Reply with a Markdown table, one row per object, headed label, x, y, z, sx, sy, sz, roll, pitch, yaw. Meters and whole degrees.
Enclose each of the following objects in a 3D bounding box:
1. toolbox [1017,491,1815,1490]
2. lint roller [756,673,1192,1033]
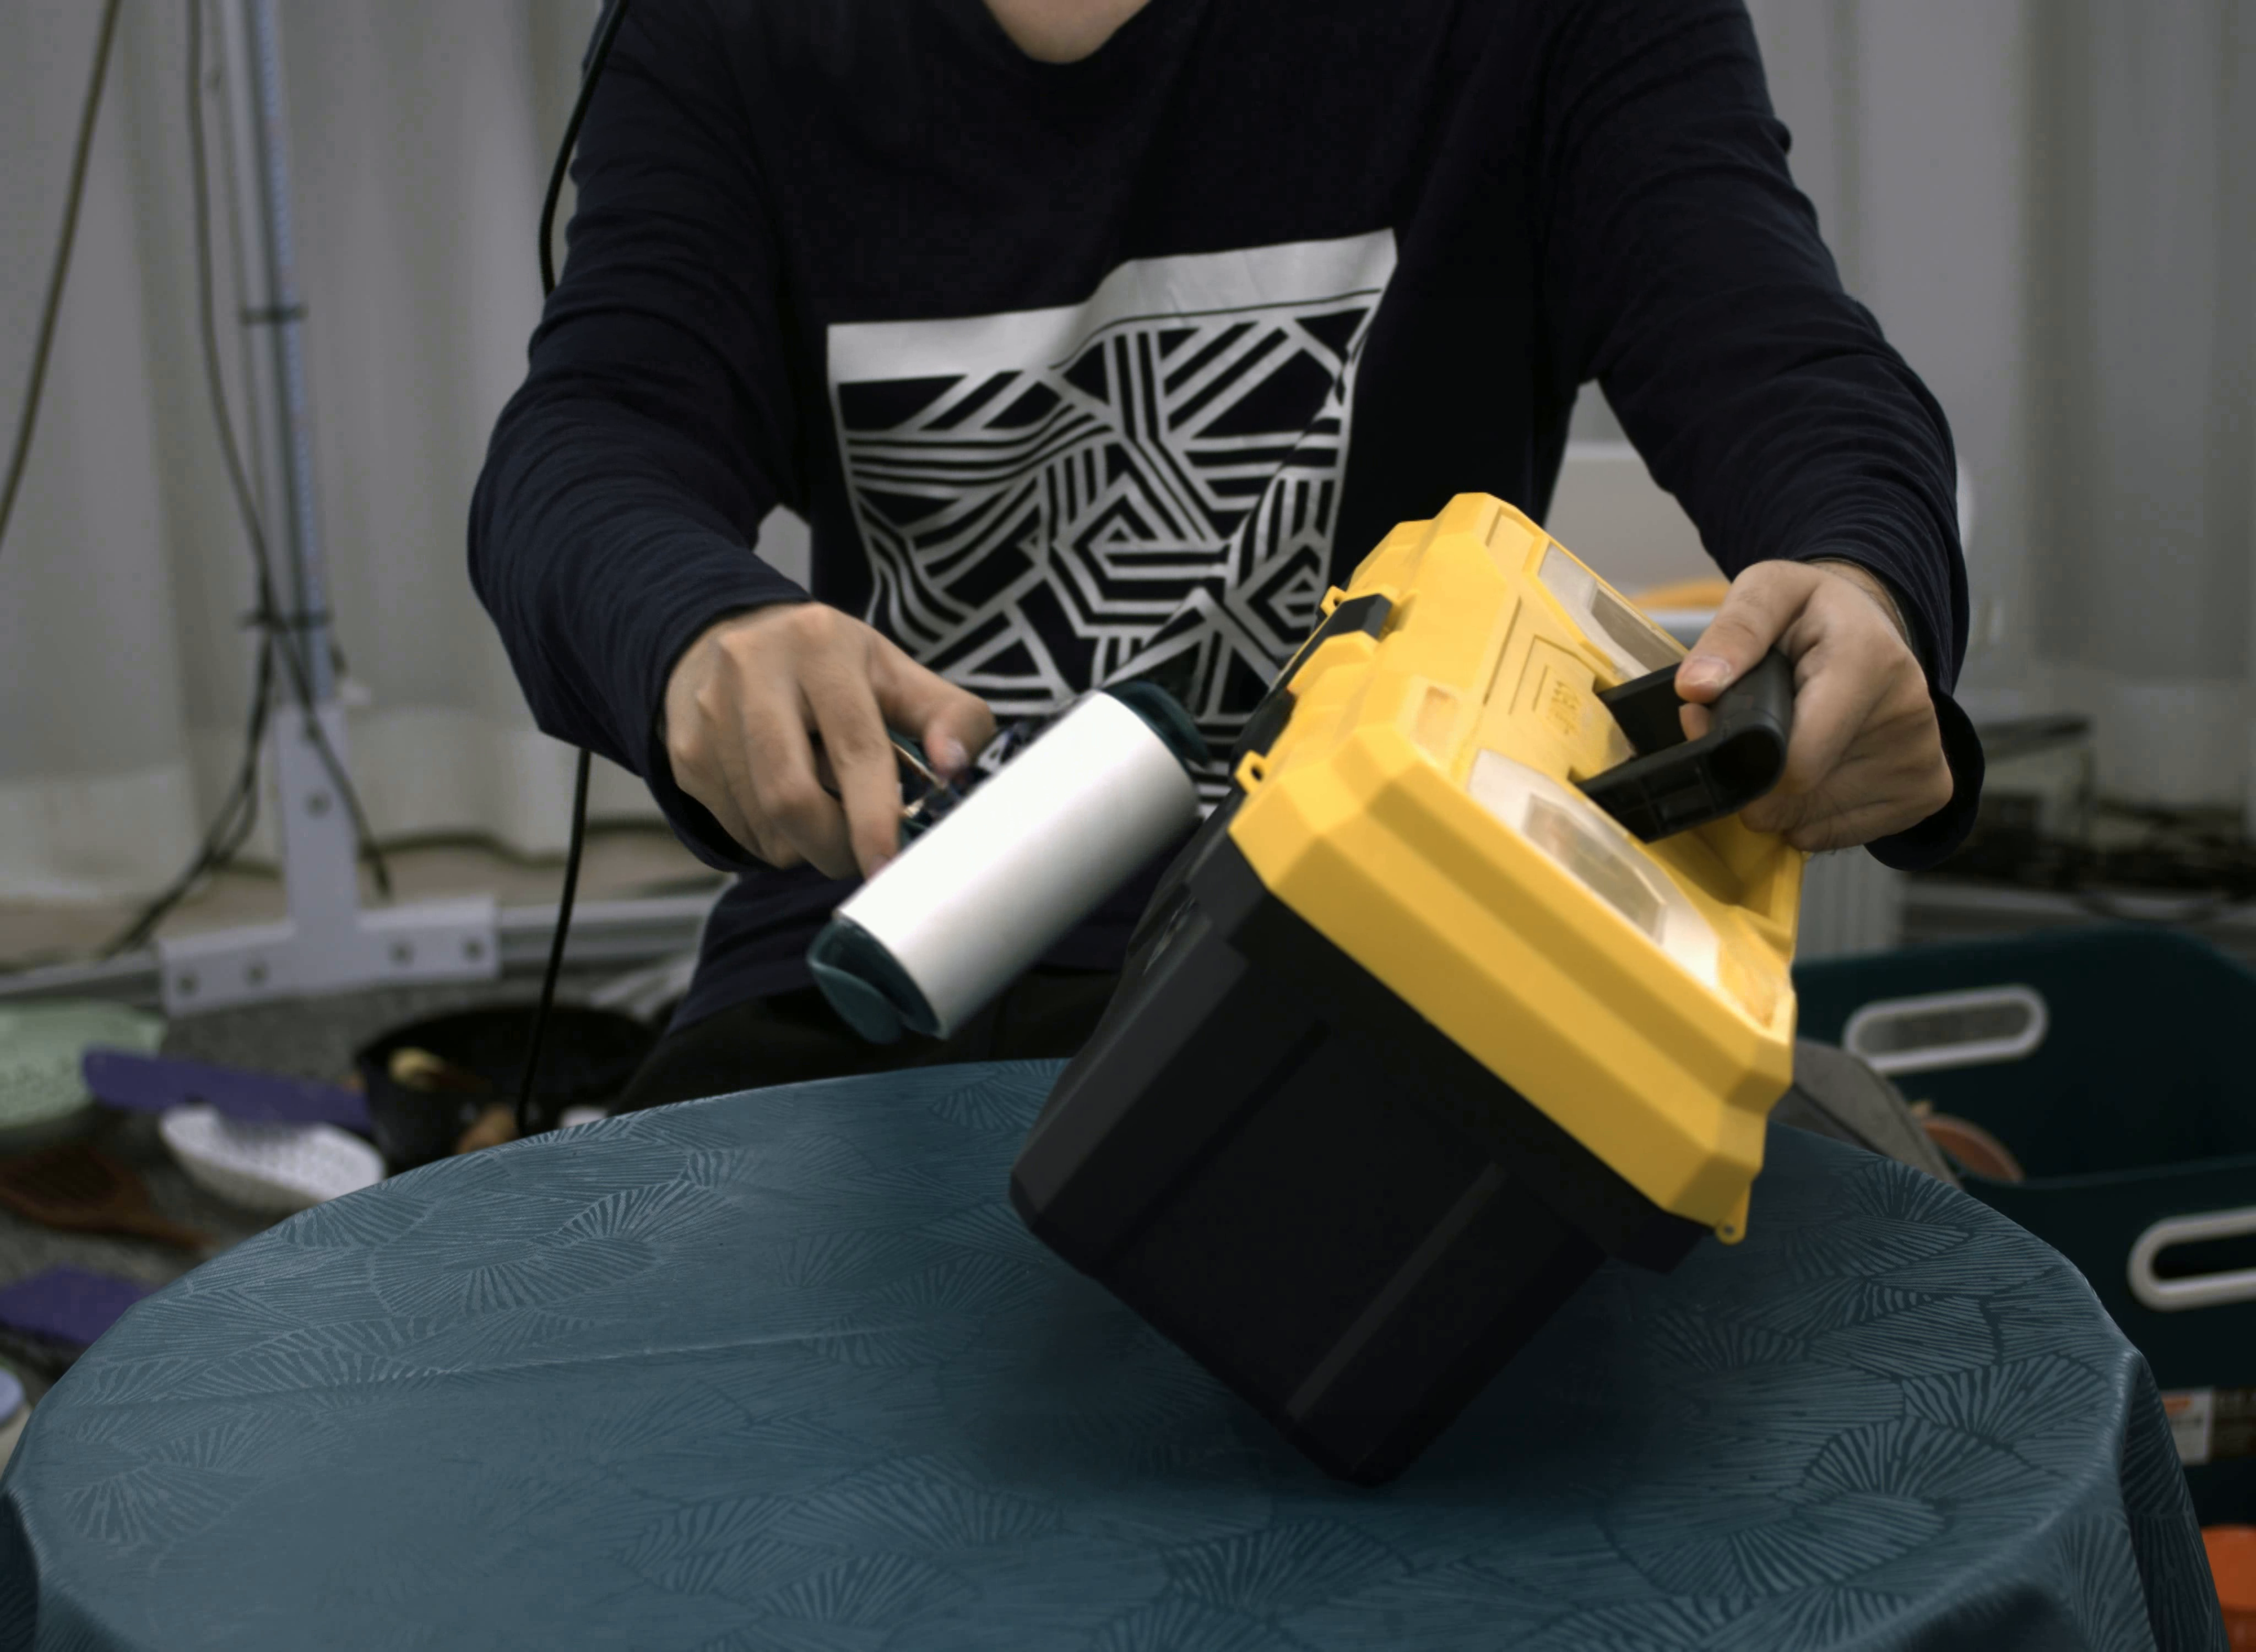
| label | x | y | z | sx | sy | sz | roll | pitch | yaw |
| --- | --- | --- | --- | --- | --- | --- | --- | --- | --- |
| toolbox | 0.087 | 0.038 | 1.580 | 0.181 | 0.172 | 0.353 | 39 | 16 | -3 |
| lint roller | -0.070 | -0.011 | 1.606 | 0.134 | 0.048 | 0.182 | -41 | 34 | -15 |
